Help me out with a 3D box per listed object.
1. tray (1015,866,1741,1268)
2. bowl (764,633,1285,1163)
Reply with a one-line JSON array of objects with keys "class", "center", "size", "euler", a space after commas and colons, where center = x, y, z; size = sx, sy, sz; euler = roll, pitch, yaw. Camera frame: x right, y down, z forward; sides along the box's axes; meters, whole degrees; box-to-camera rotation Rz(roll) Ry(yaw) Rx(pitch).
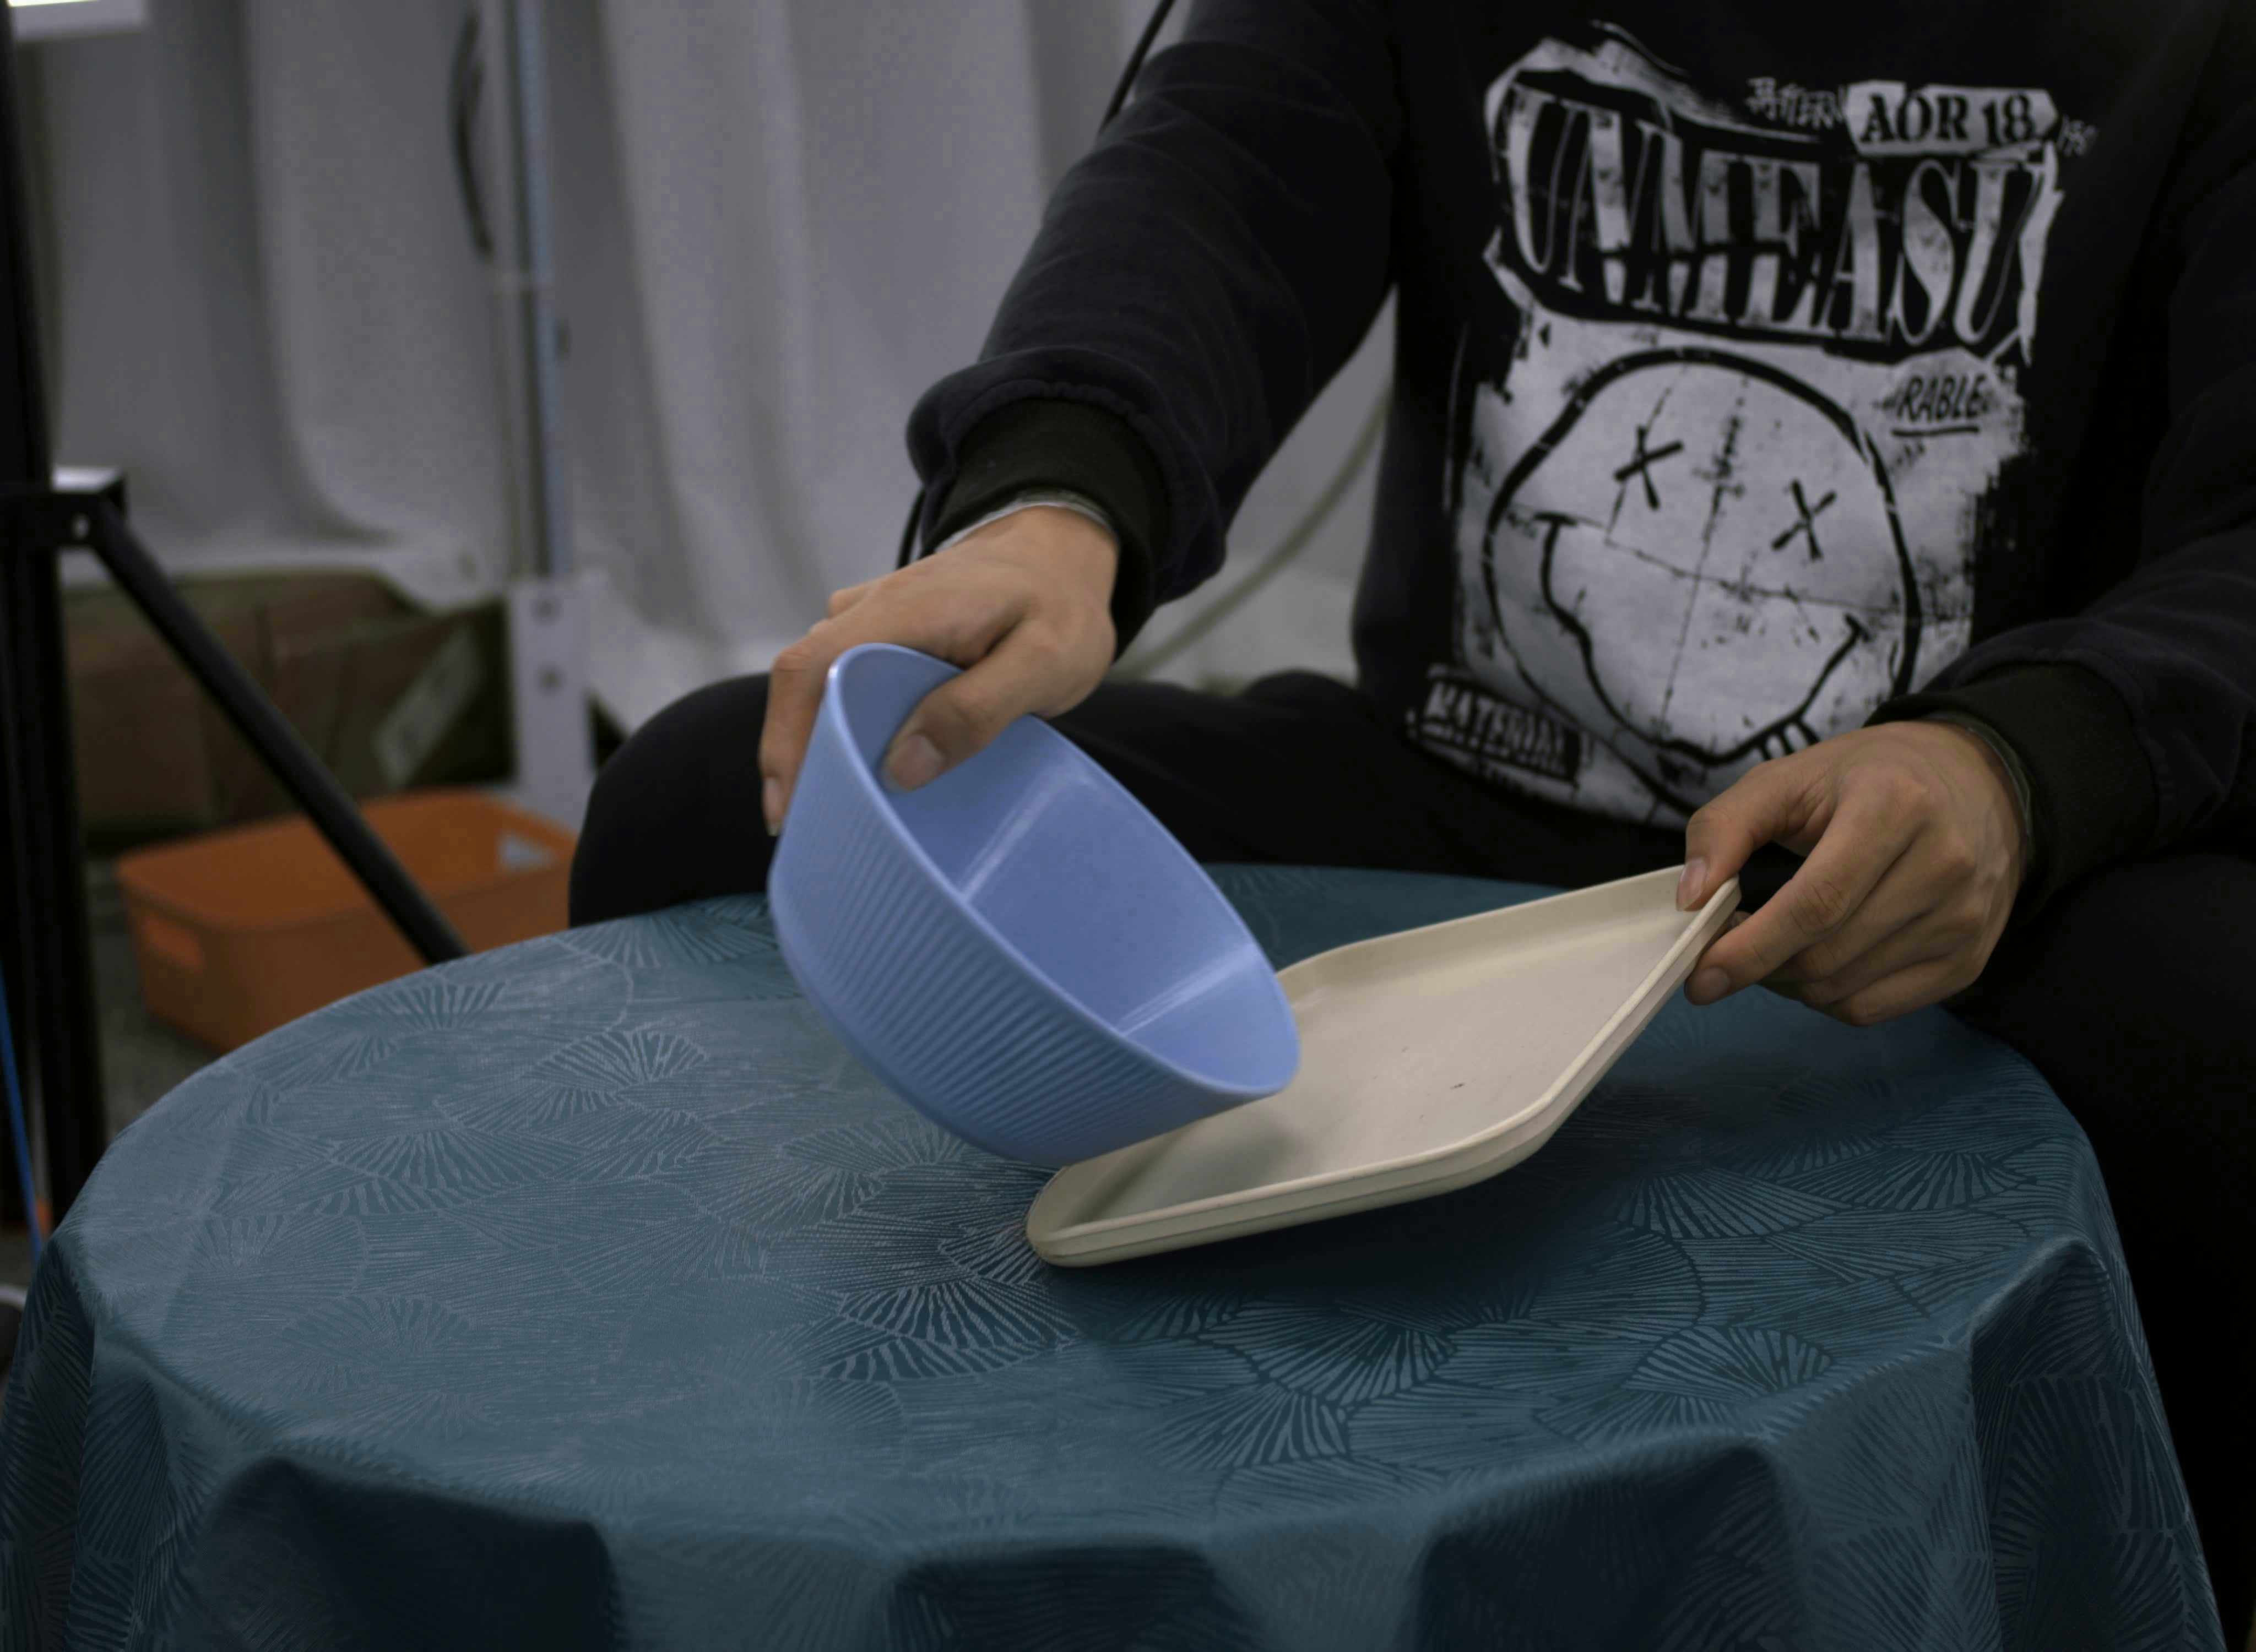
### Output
[{"class": "tray", "center": [0.078, 0.071, 1.552], "size": [0.174, 0.017, 0.237], "euler": [-13, 13, 28]}, {"class": "bowl", "center": [-0.039, 0.032, 1.513], "size": [0.173, 0.071, 0.177], "euler": [38, 19, -18]}]
